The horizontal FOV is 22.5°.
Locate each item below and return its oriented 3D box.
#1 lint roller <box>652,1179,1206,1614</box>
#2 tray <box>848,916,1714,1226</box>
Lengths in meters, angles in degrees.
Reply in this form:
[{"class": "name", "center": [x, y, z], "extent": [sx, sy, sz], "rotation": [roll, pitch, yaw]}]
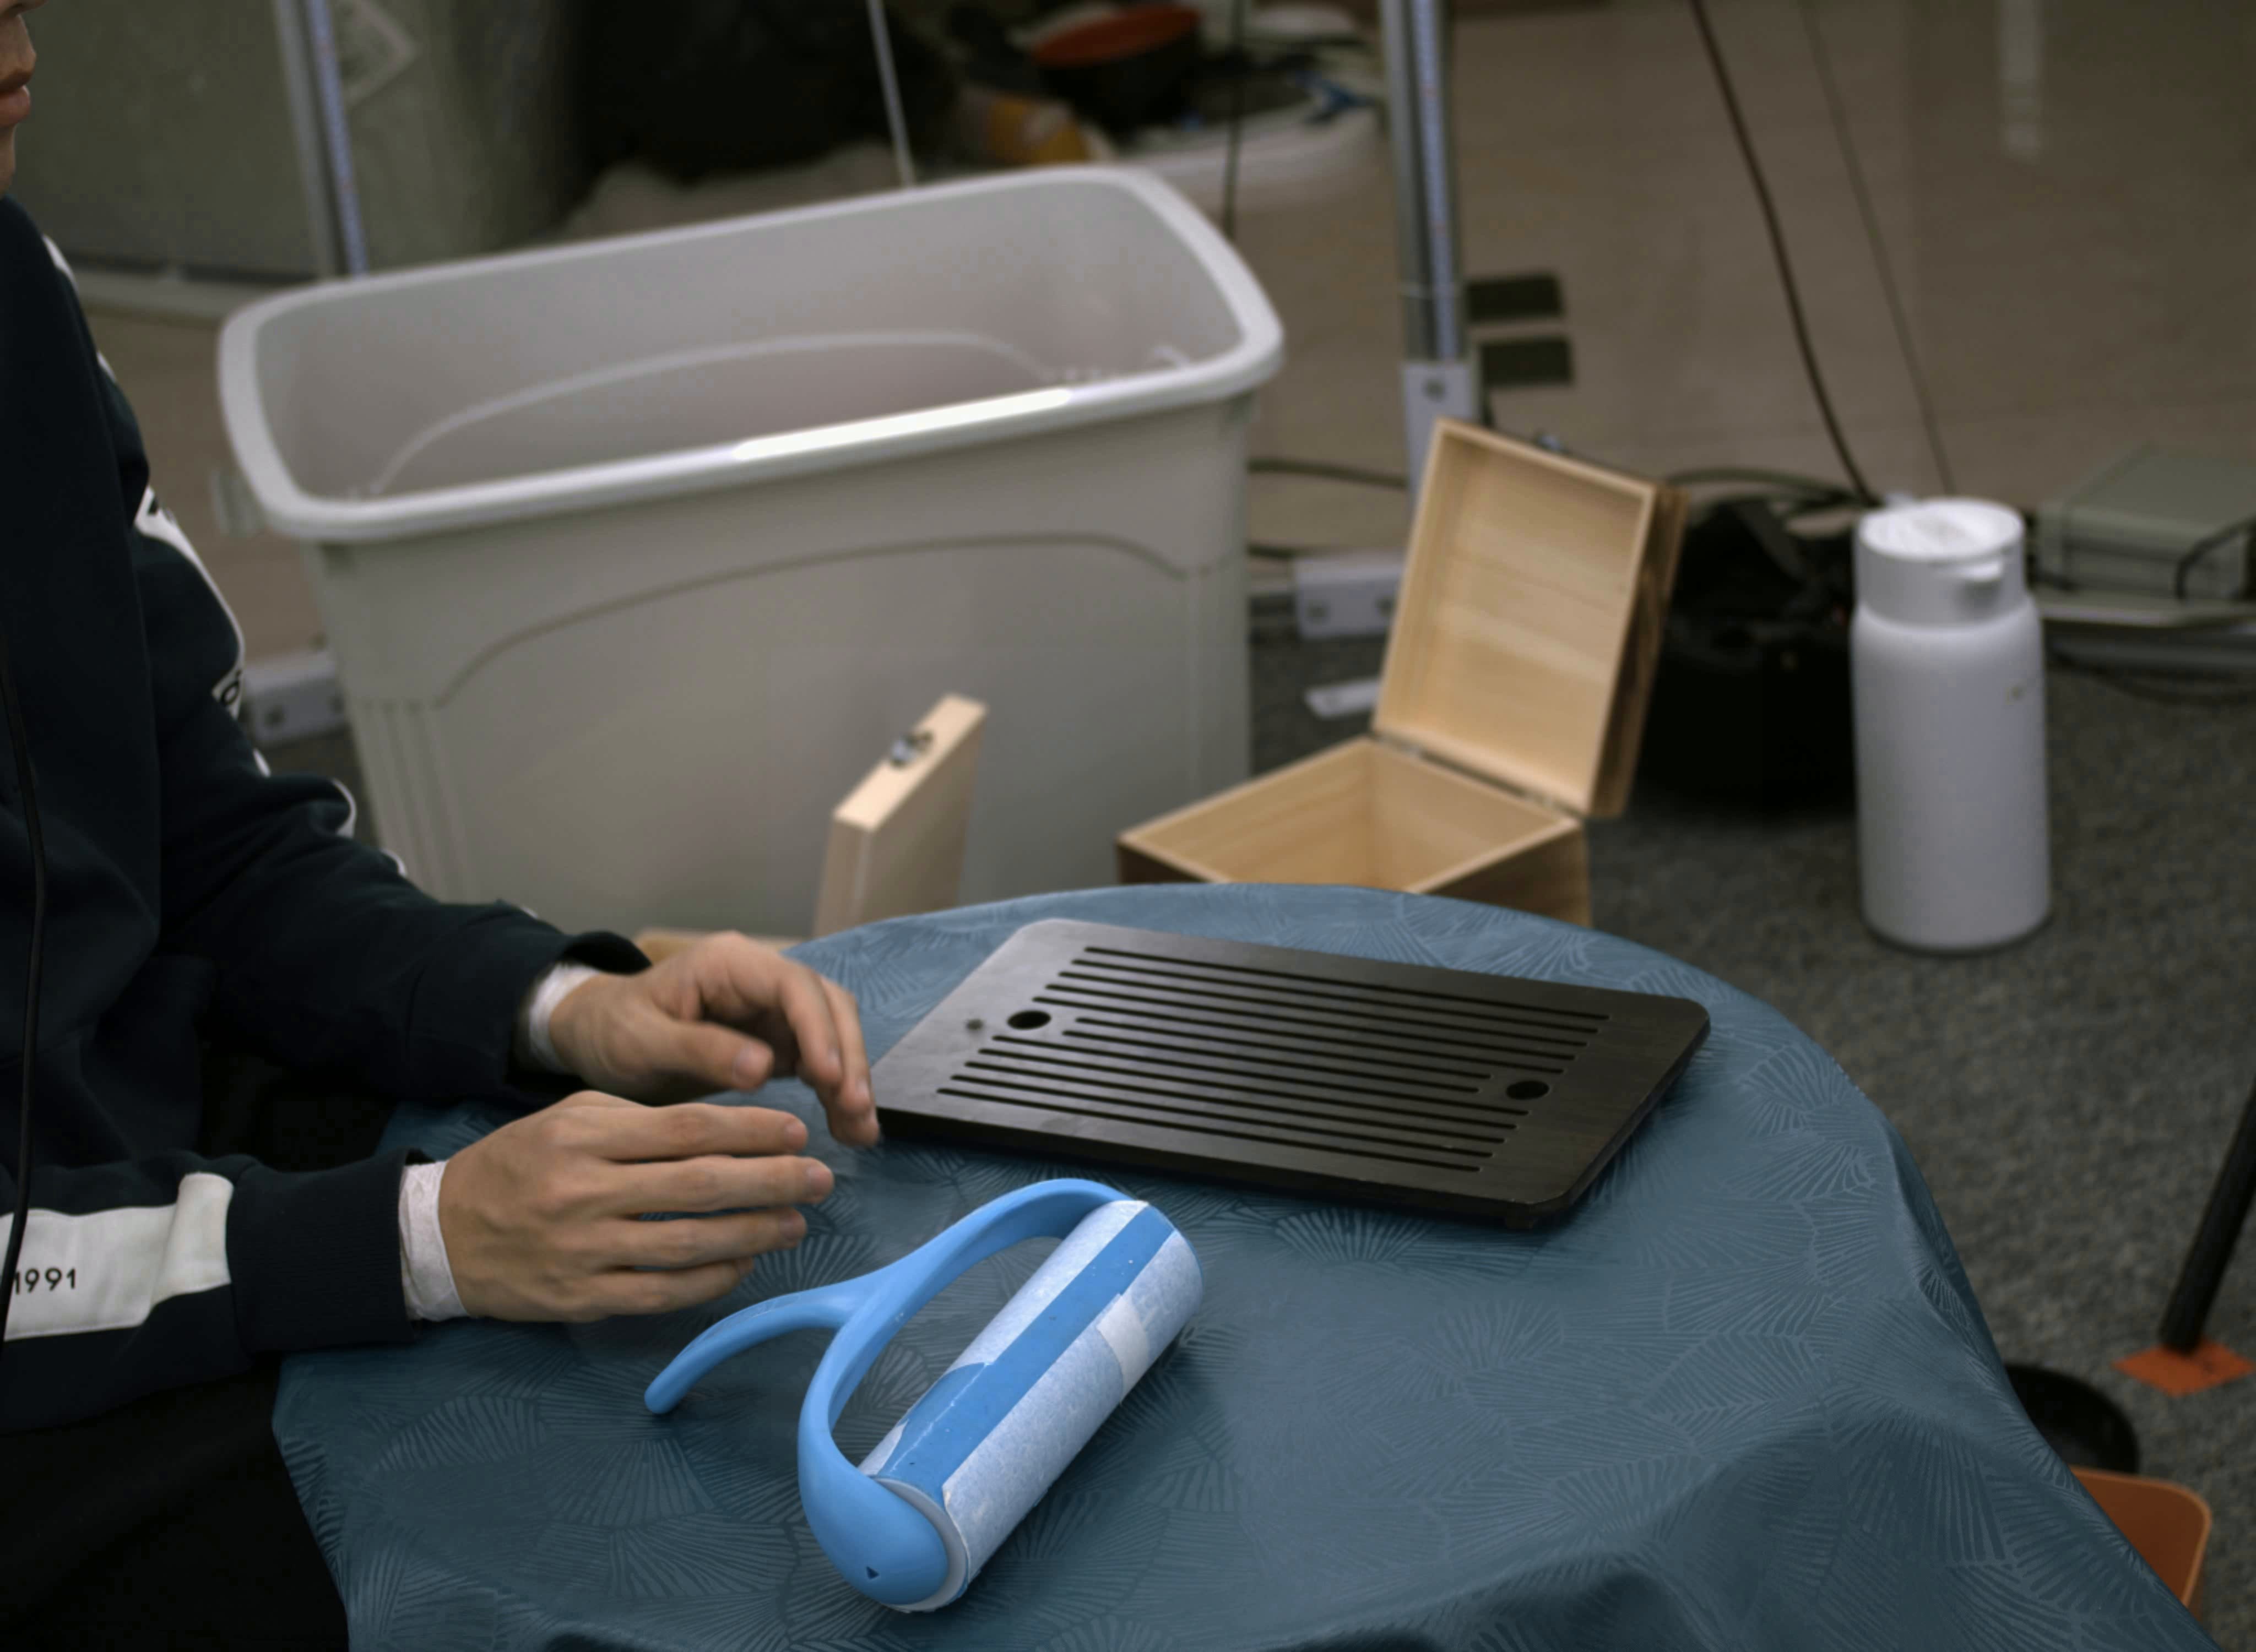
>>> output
[{"class": "lint roller", "center": [-0.090, 0.192, 1.984], "extent": [0.179, 0.069, 0.226], "rotation": [6, 30, 22]}, {"class": "tray", "center": [0.059, 0.094, 2.205], "extent": [0.305, 0.019, 0.168], "rotation": [7, 28, 26]}]
